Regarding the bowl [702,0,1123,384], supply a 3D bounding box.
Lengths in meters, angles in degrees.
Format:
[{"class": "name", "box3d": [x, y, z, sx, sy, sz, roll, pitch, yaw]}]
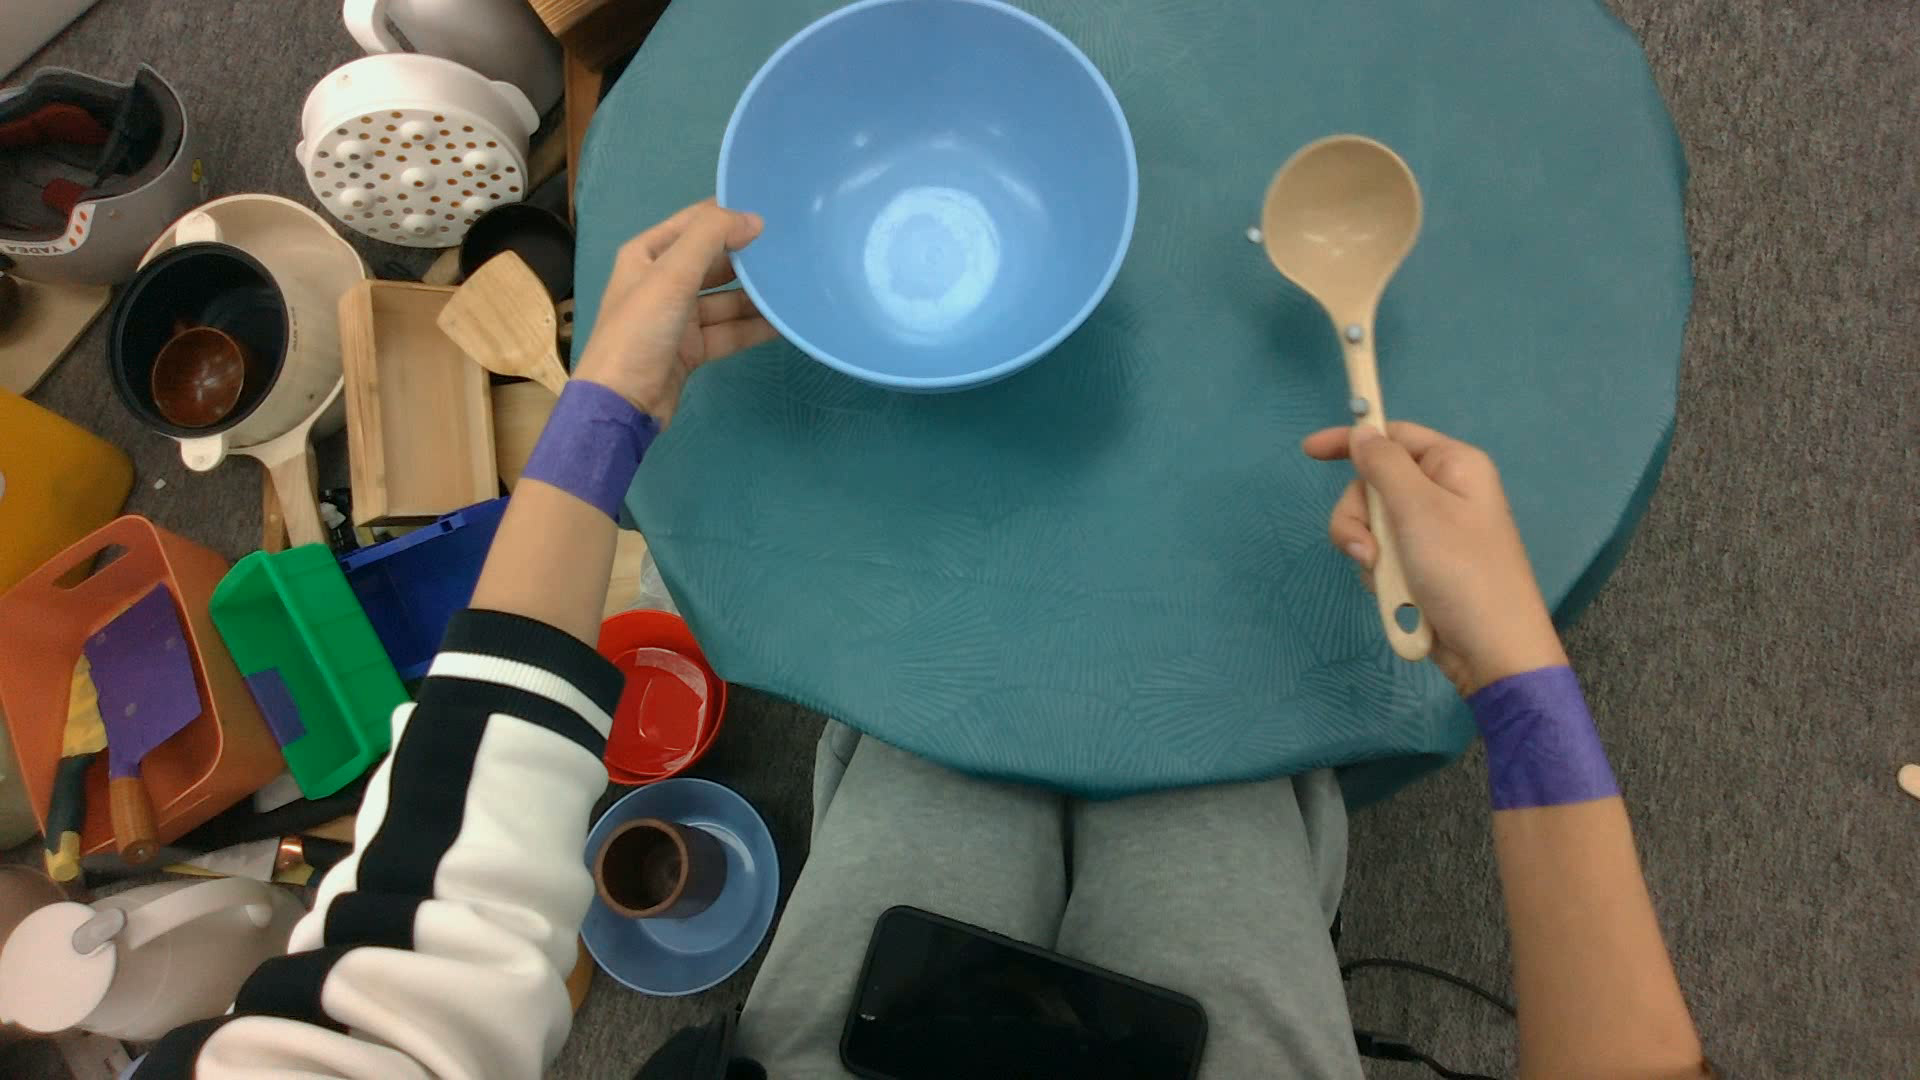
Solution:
[{"class": "bowl", "box3d": [-0.022, -0.161, 0.687, 0.196, 0.095, 0.197, 0, 78, -1]}]

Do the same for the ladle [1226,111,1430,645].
[{"class": "ladle", "box3d": [0.165, -0.082, 0.592, 0.072, 0.072, 0.255, -11, 54, 11]}]
